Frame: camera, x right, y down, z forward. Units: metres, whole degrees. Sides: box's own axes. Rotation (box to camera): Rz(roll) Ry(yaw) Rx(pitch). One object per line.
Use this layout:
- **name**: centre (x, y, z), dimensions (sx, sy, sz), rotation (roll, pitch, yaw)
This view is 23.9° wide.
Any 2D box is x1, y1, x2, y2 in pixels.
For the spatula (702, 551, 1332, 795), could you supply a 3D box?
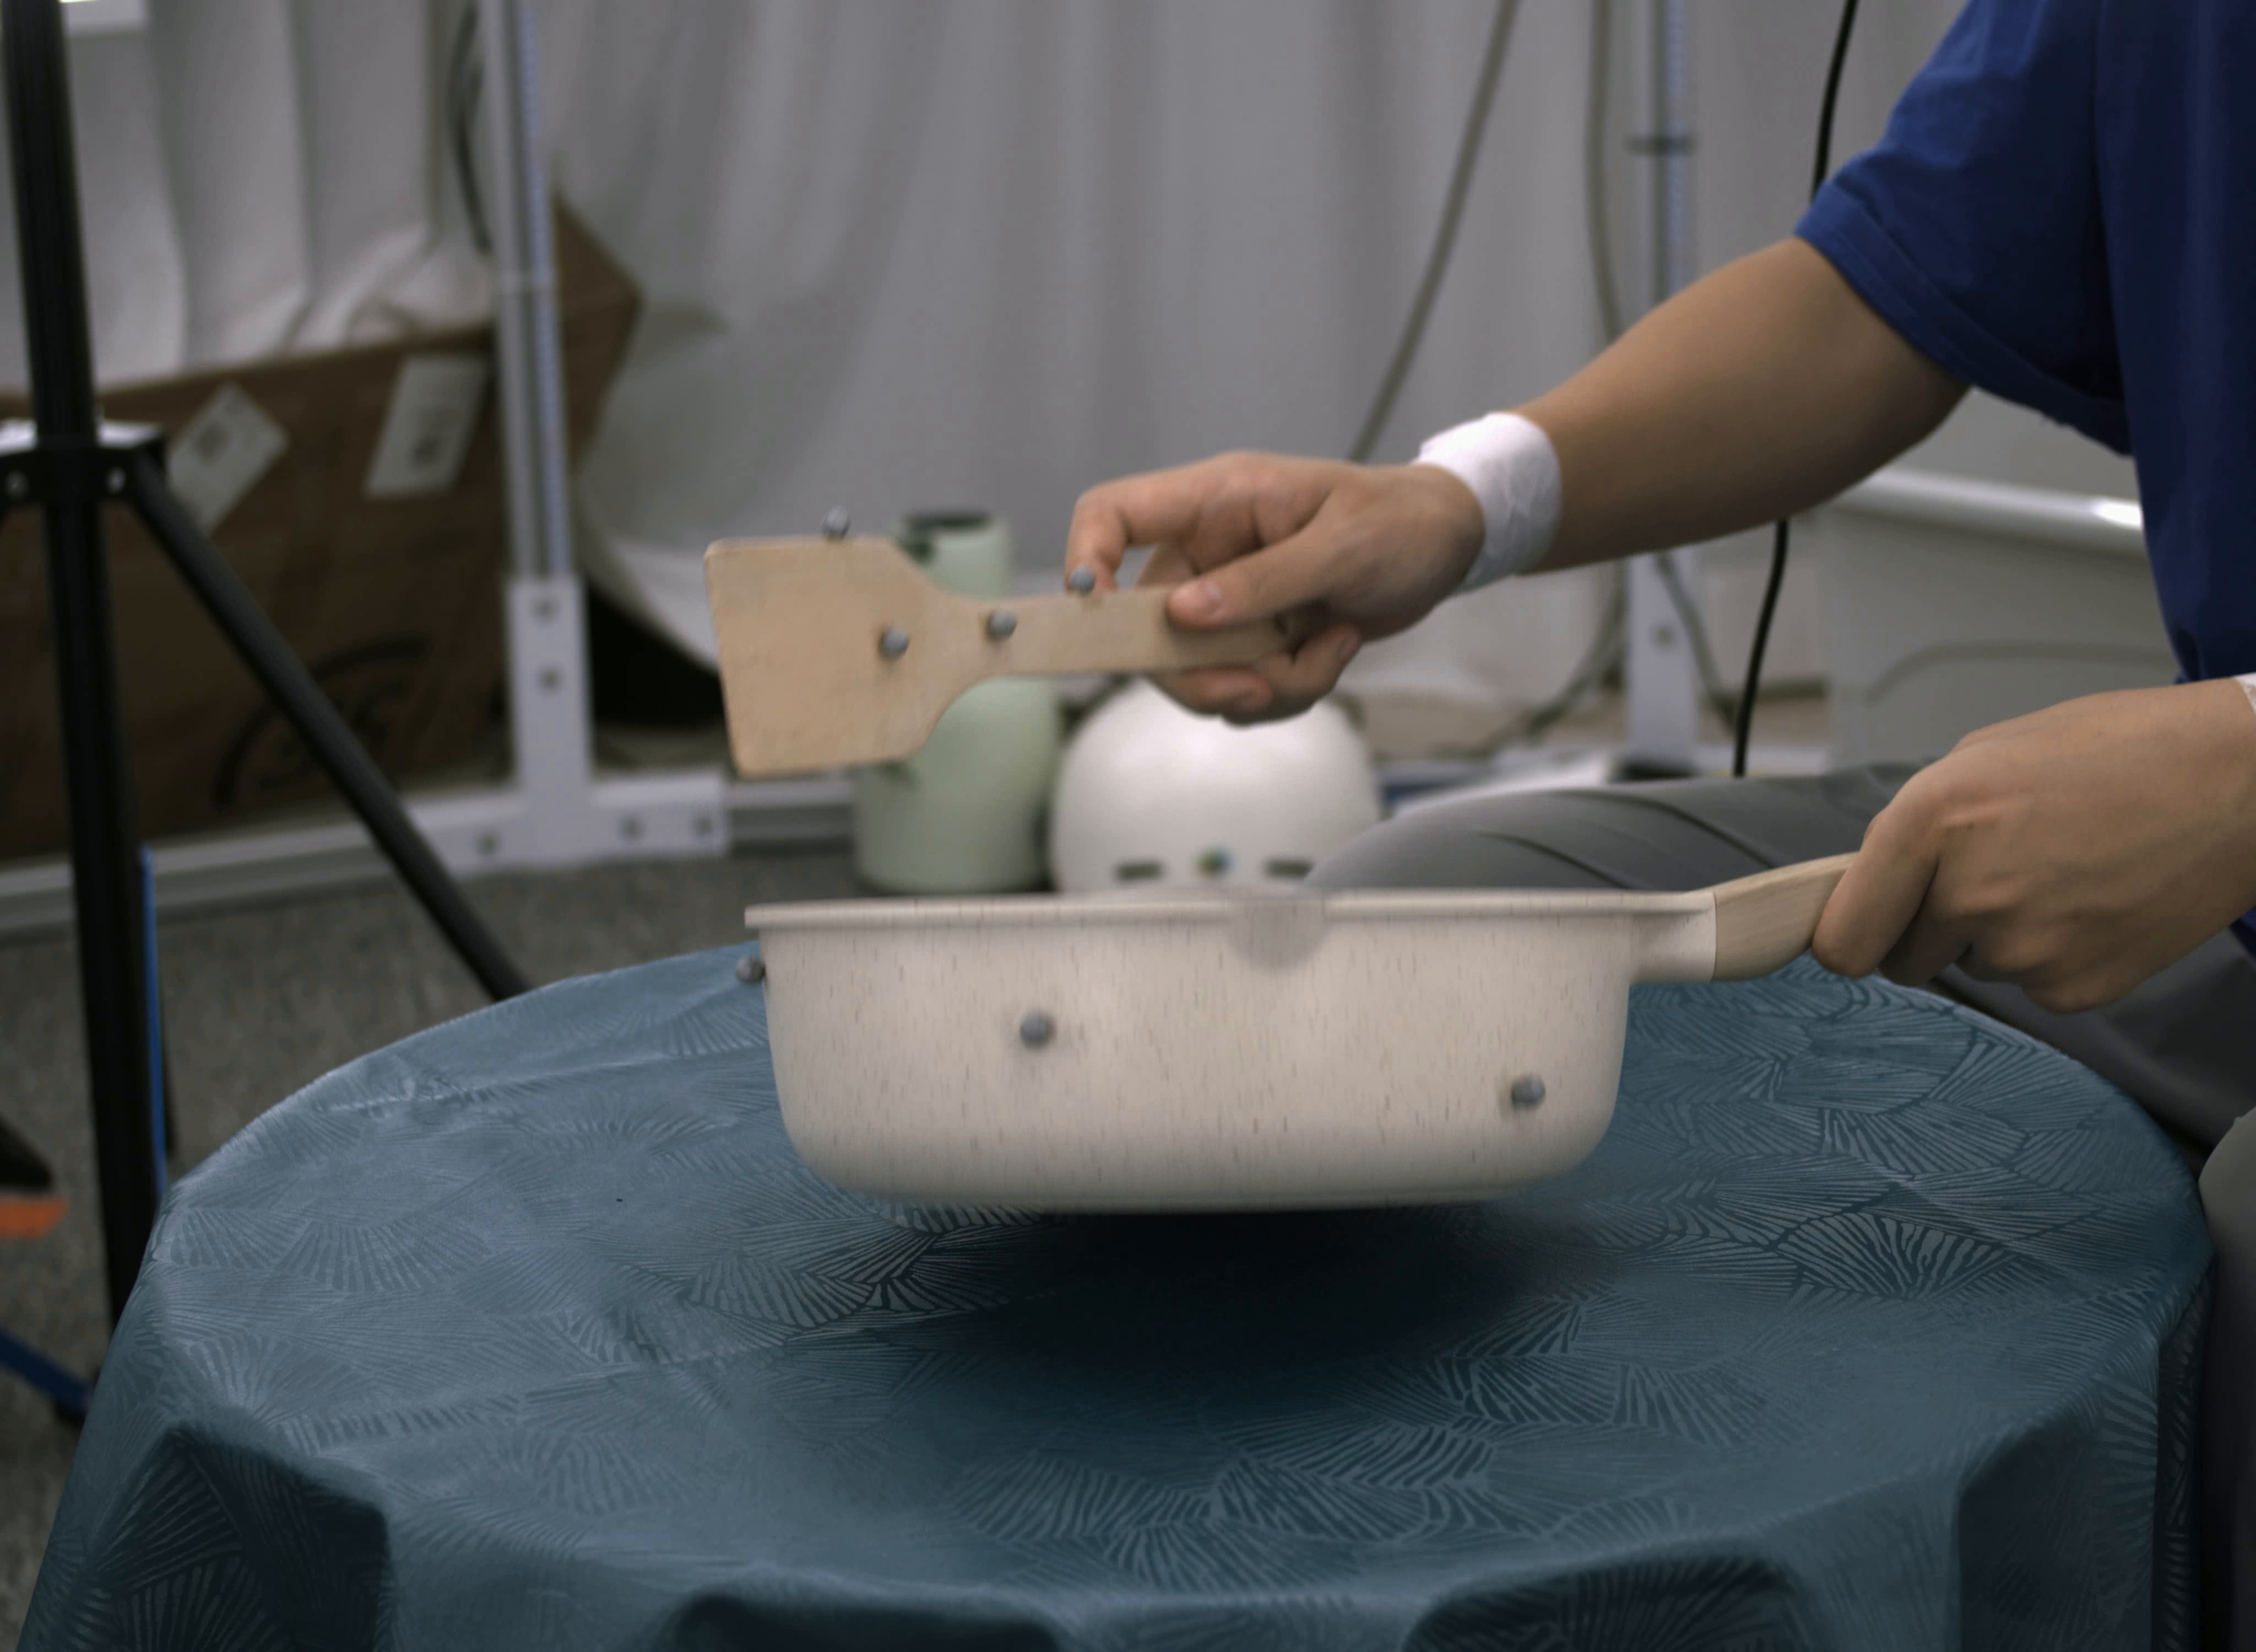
- **spatula**: centre (-0.028, -0.056, 1.682), dimensions (0.011, 0.072, 0.286), rotation (-12, -3, 42)

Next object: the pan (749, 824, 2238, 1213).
- **pan**: centre (0.110, 0.054, 1.481), dimensions (0.429, 0.102, 0.265), rotation (0, -2, -9)
